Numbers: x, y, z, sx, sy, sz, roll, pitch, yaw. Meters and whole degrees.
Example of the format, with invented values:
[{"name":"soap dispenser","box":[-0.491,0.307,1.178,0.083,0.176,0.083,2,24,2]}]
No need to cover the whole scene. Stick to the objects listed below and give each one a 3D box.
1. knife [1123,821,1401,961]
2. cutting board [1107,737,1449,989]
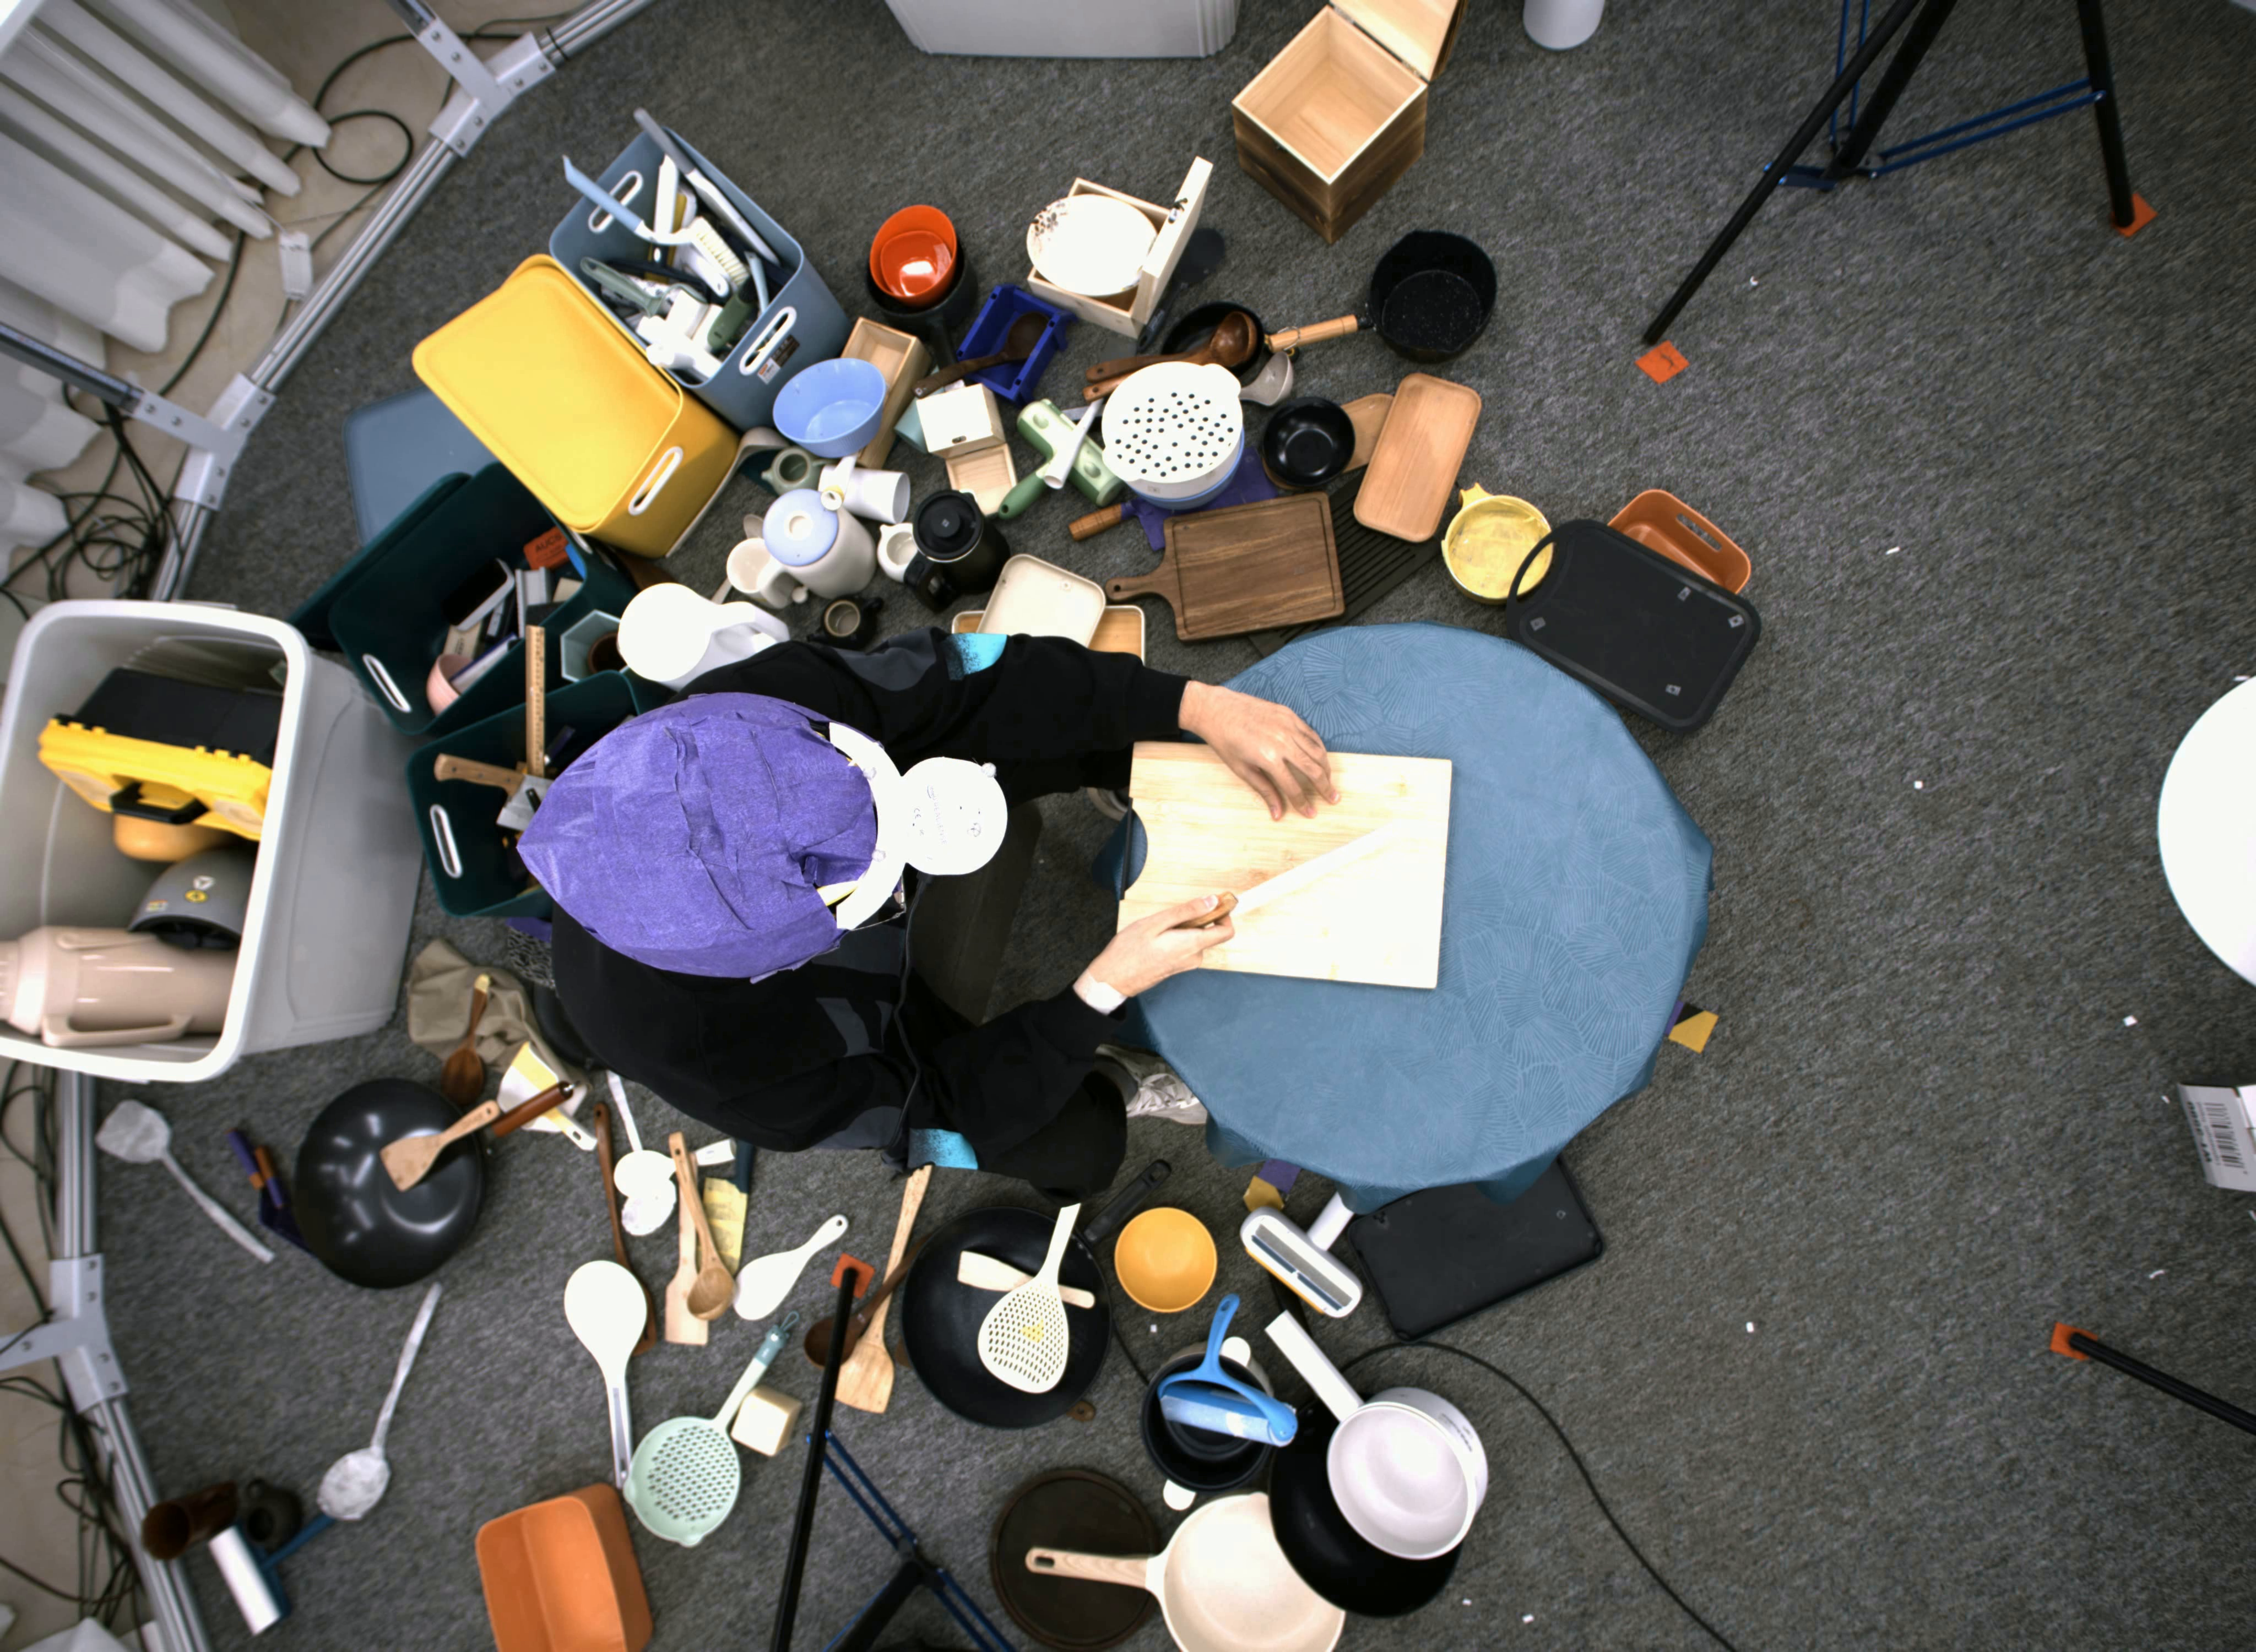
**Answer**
[{"name":"knife","box":[0.140,0.067,1.414,0.307,0.093,0.021,-26,74,7]},{"name":"cutting board","box":[0.158,0.036,1.474,0.350,0.023,0.250,3,87,11]}]
